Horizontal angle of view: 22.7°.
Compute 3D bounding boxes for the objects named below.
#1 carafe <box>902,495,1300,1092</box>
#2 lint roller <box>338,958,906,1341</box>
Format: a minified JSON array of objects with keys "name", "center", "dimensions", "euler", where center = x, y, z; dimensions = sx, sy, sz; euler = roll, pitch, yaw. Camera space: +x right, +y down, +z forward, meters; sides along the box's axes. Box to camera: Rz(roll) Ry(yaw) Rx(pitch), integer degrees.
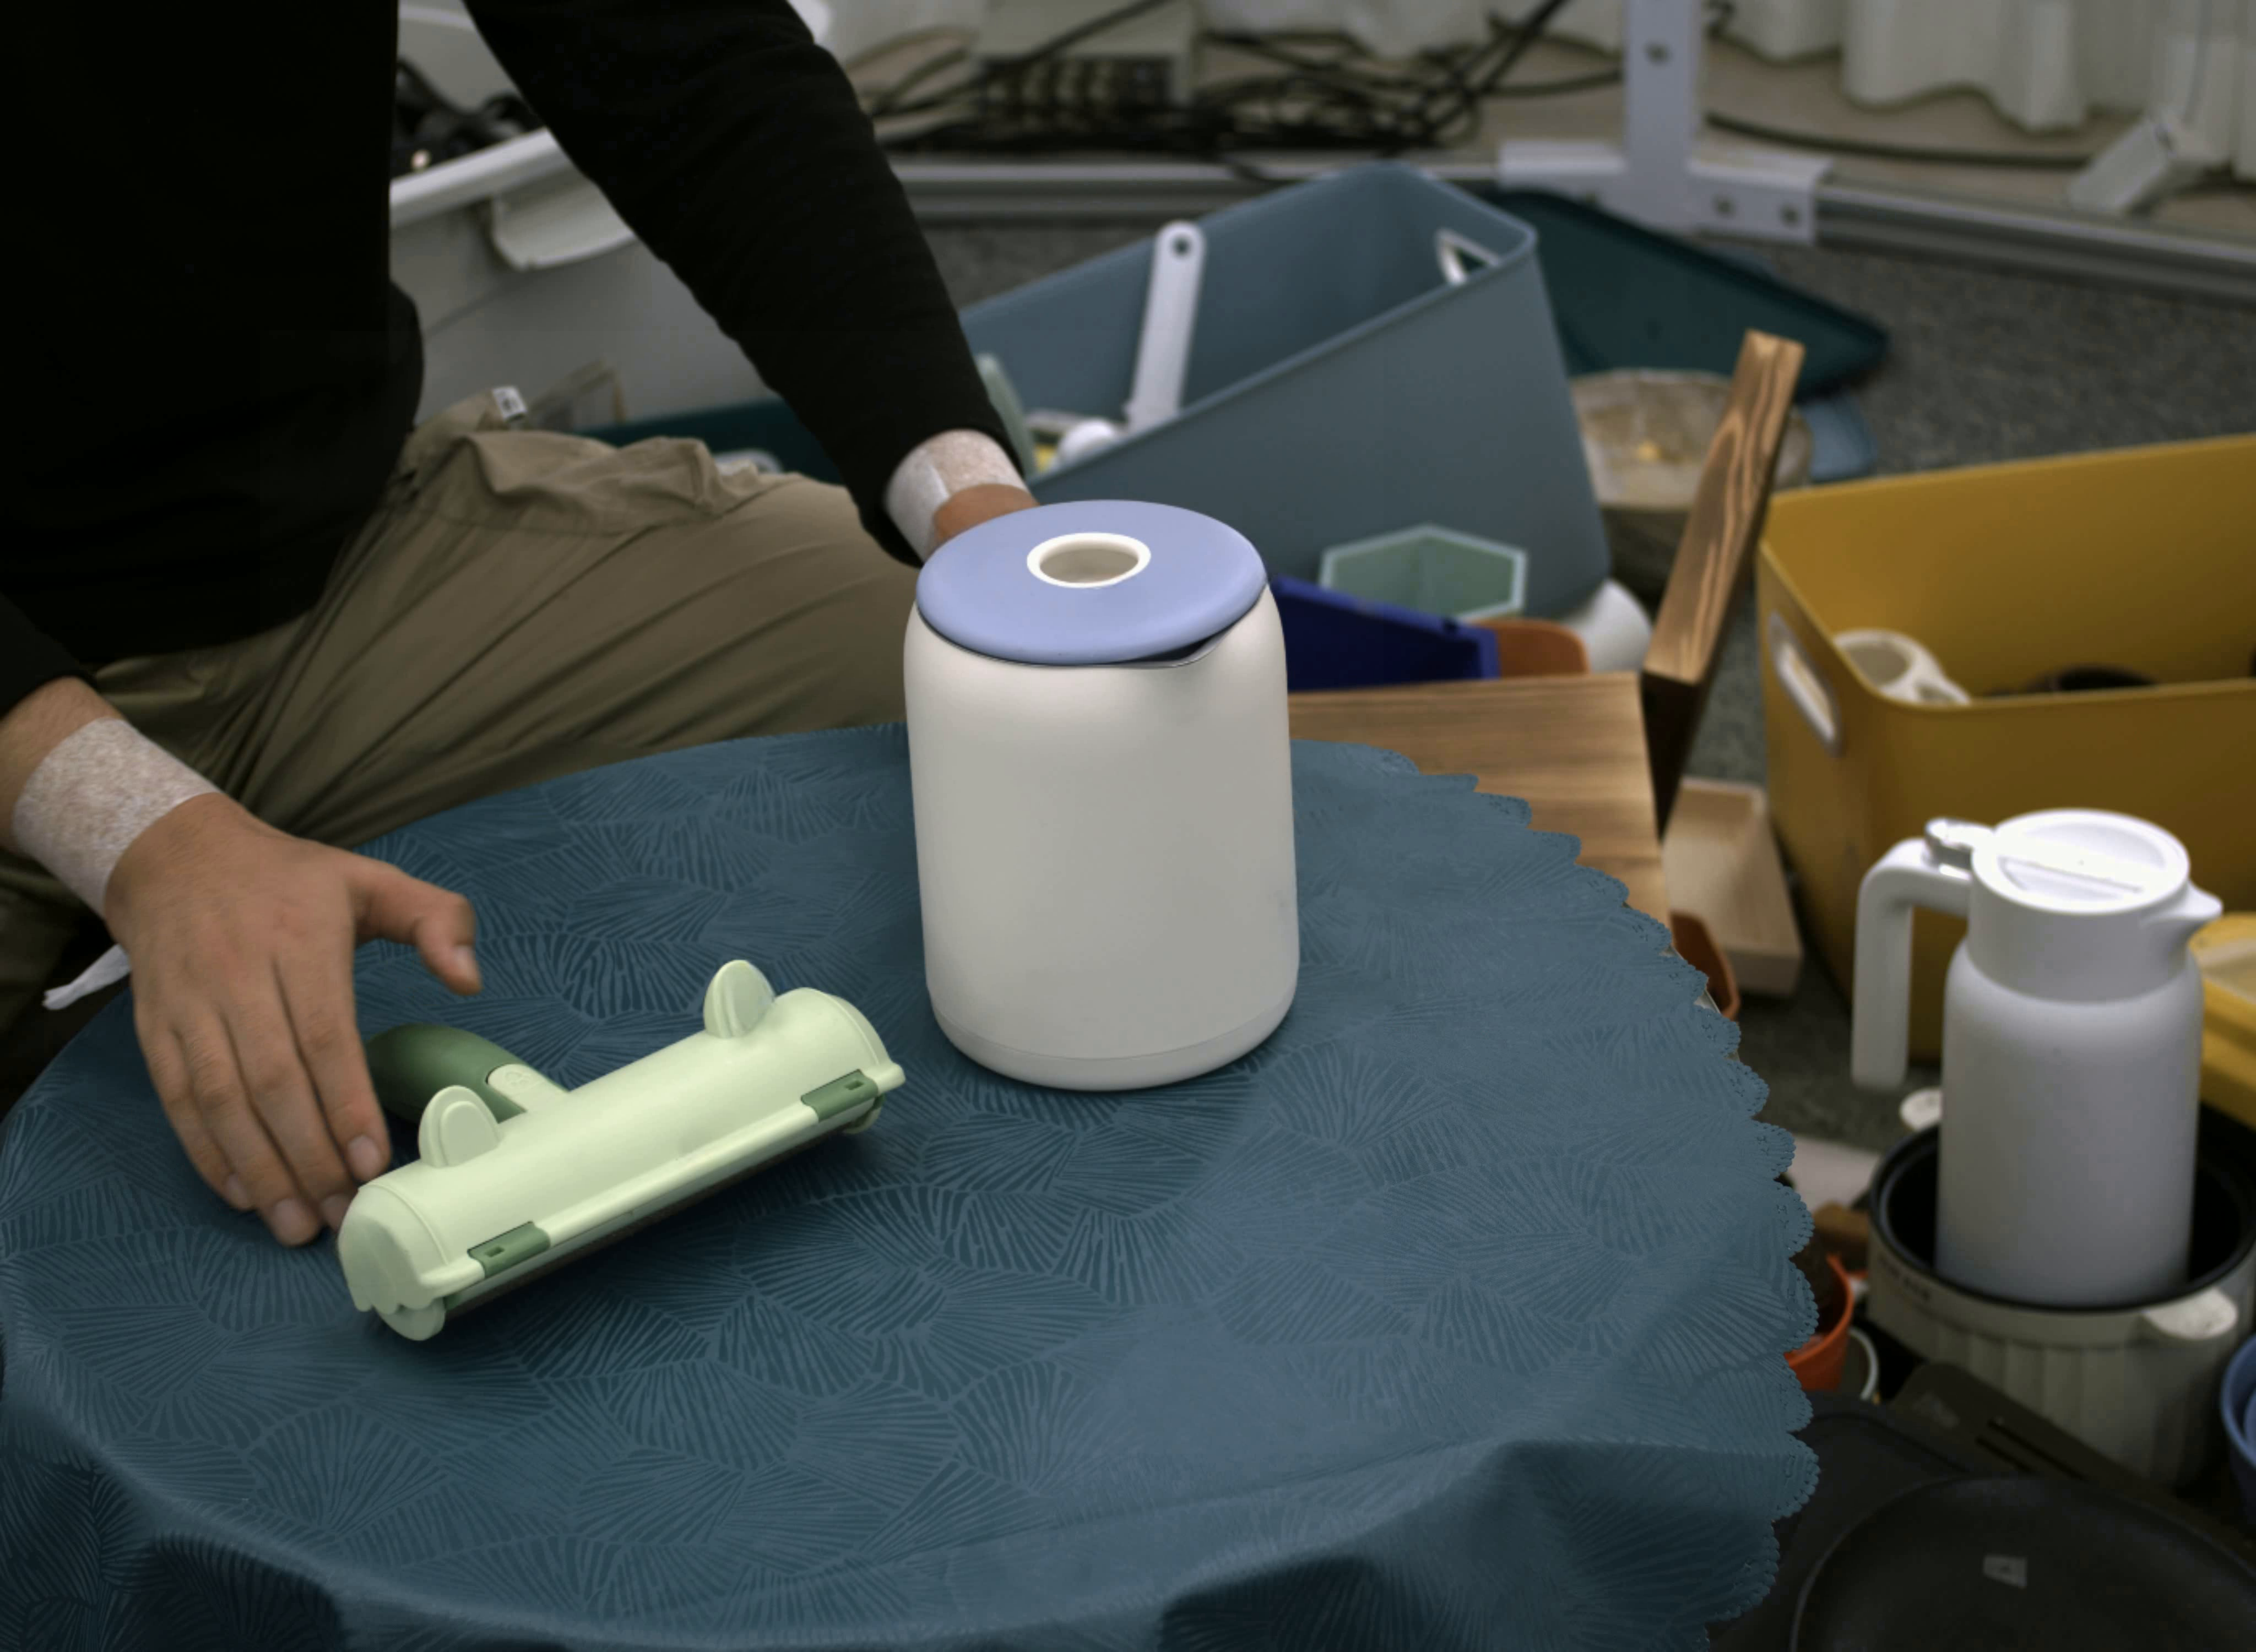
[{"name":"carafe","center":[-0.021,-0.020,1.953],"dimensions":[0.133,0.181,0.191],"euler":[-17,28,-27]},{"name":"lint roller","center":[-0.202,0.084,1.872],"dimensions":[0.201,0.081,0.183],"euler":[-23,36,-36]}]
